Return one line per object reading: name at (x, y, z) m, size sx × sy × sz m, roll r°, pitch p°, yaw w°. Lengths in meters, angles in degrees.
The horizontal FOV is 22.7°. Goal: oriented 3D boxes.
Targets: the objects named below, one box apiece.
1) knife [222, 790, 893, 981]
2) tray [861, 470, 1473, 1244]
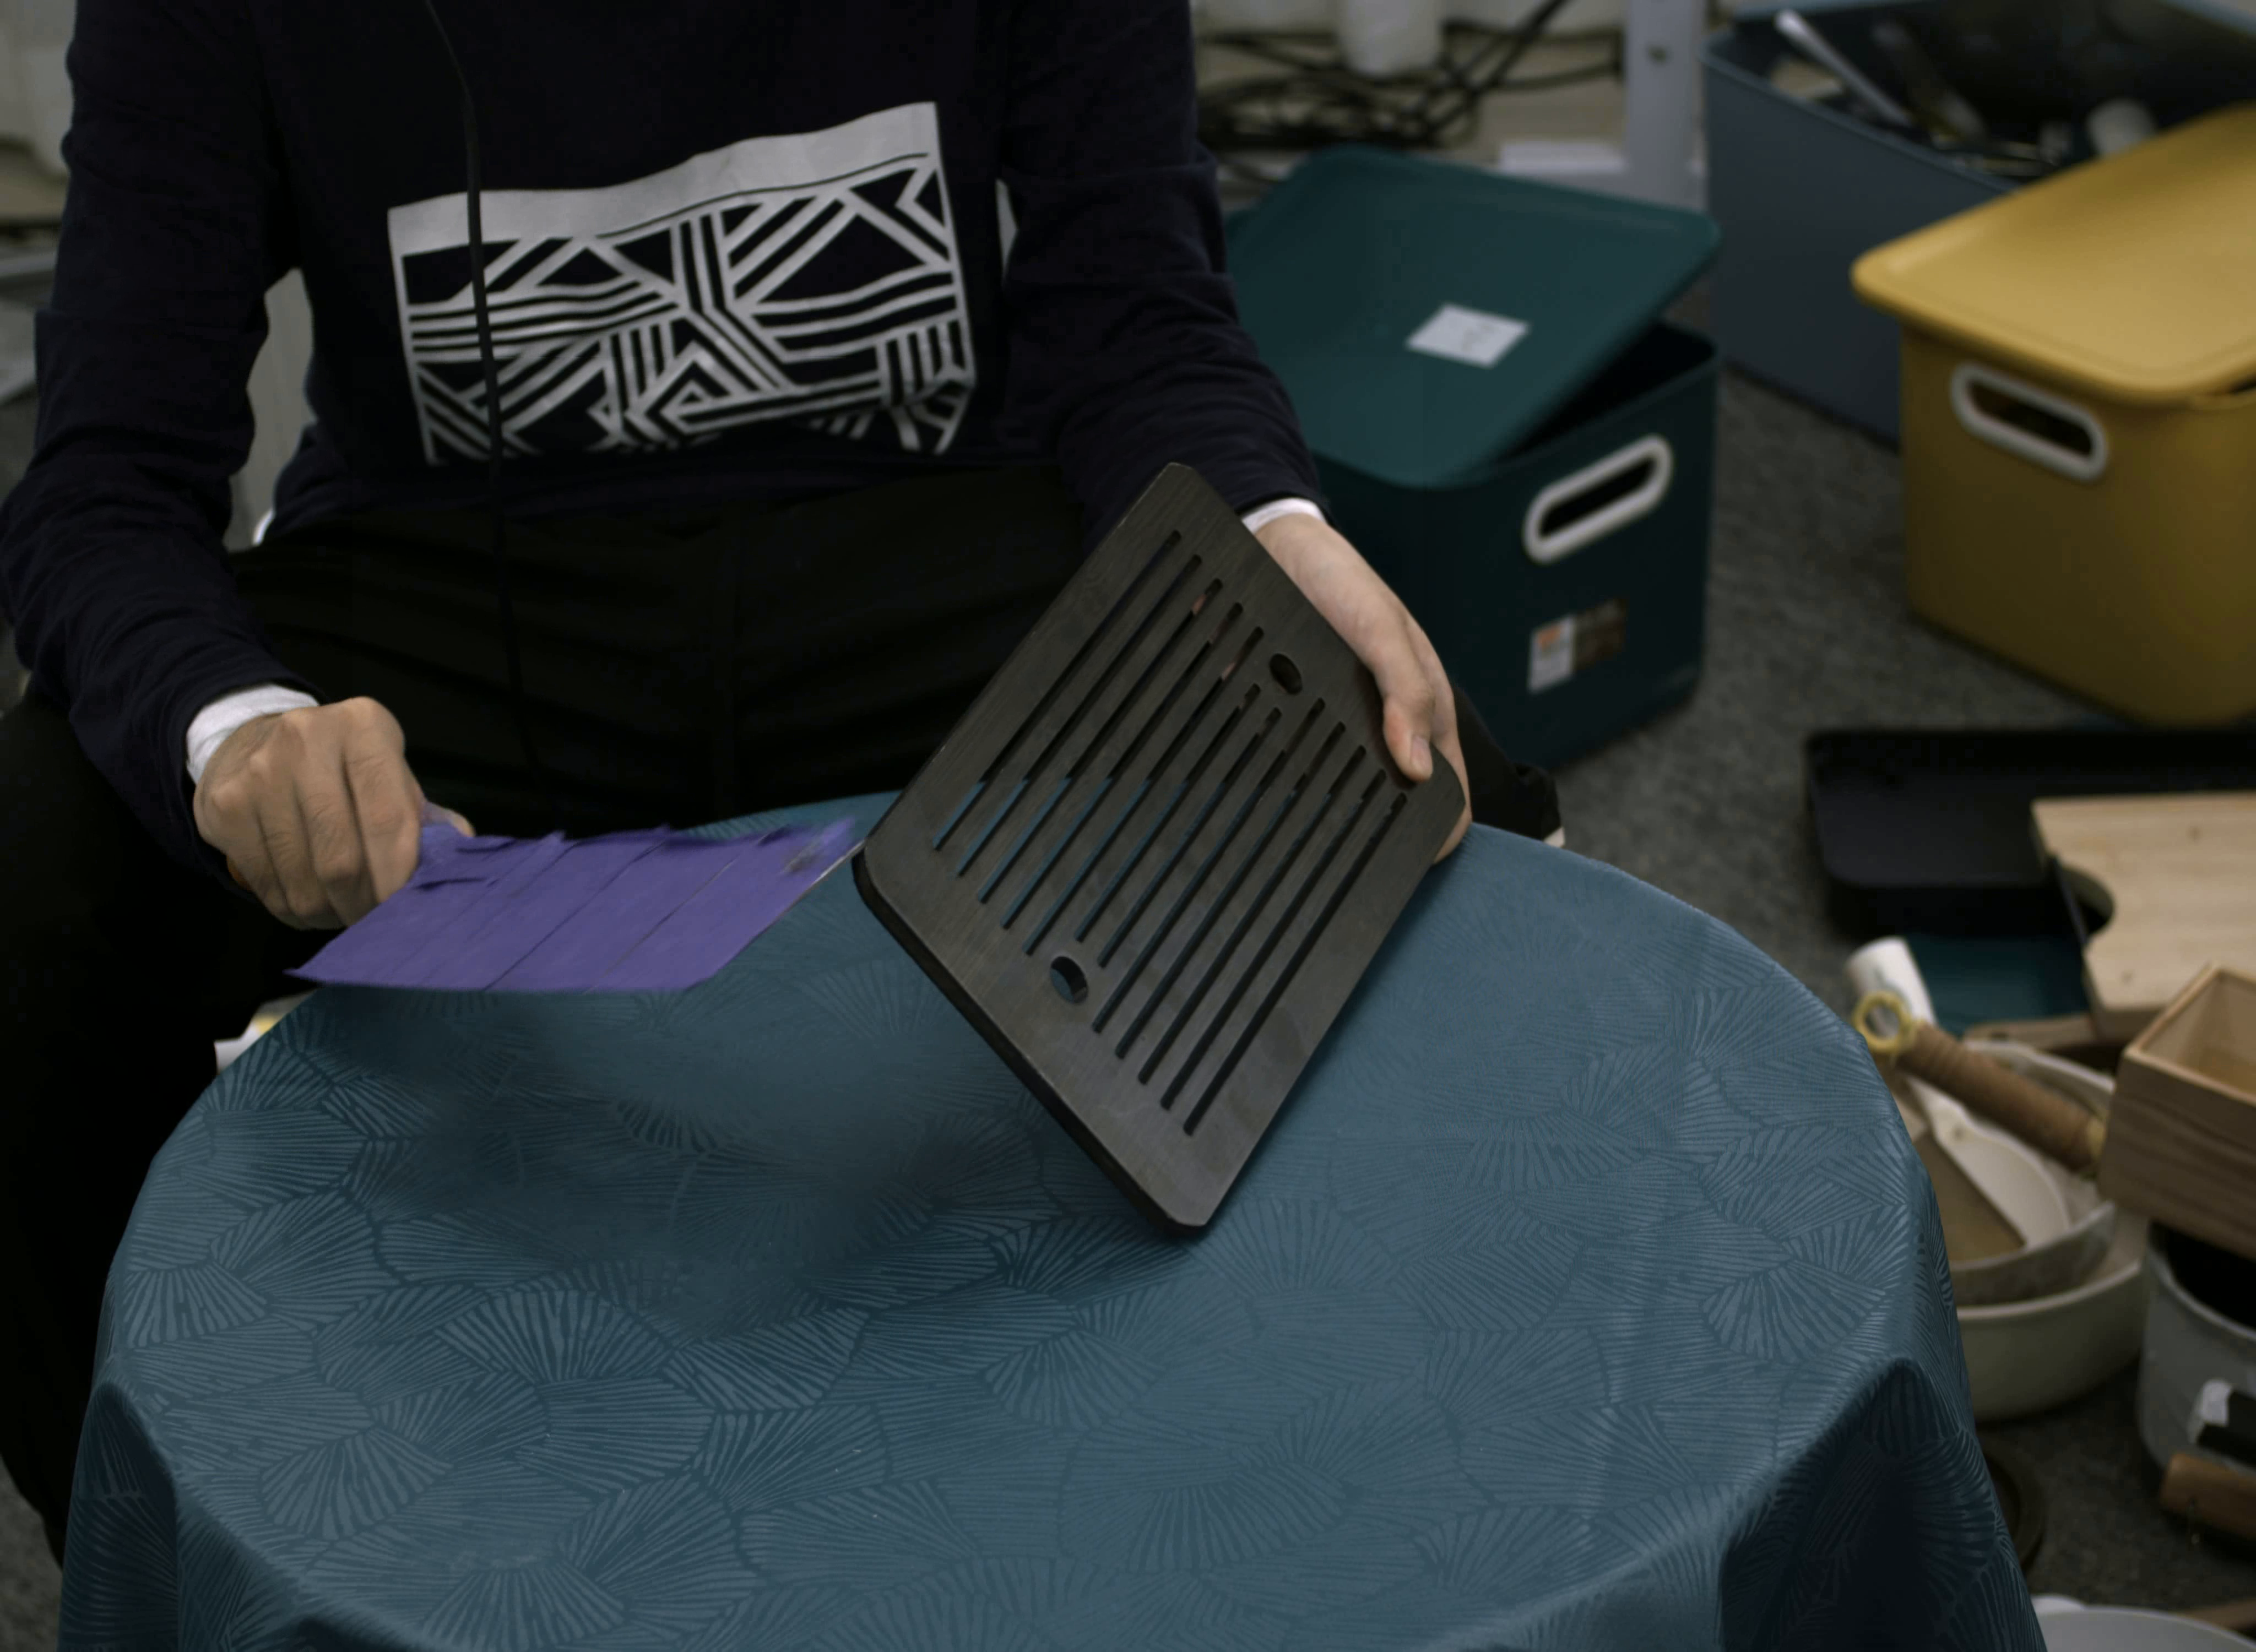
knife at (-0.217, 0.022, 1.884) m, size 0.312 × 0.032 × 0.105 m, roll -5°, pitch 27°, yaw 43°
tray at (0.017, 0.006, 1.940) m, size 0.018 × 0.170 × 0.311 m, roll -36°, pitch 10°, yaw 34°
